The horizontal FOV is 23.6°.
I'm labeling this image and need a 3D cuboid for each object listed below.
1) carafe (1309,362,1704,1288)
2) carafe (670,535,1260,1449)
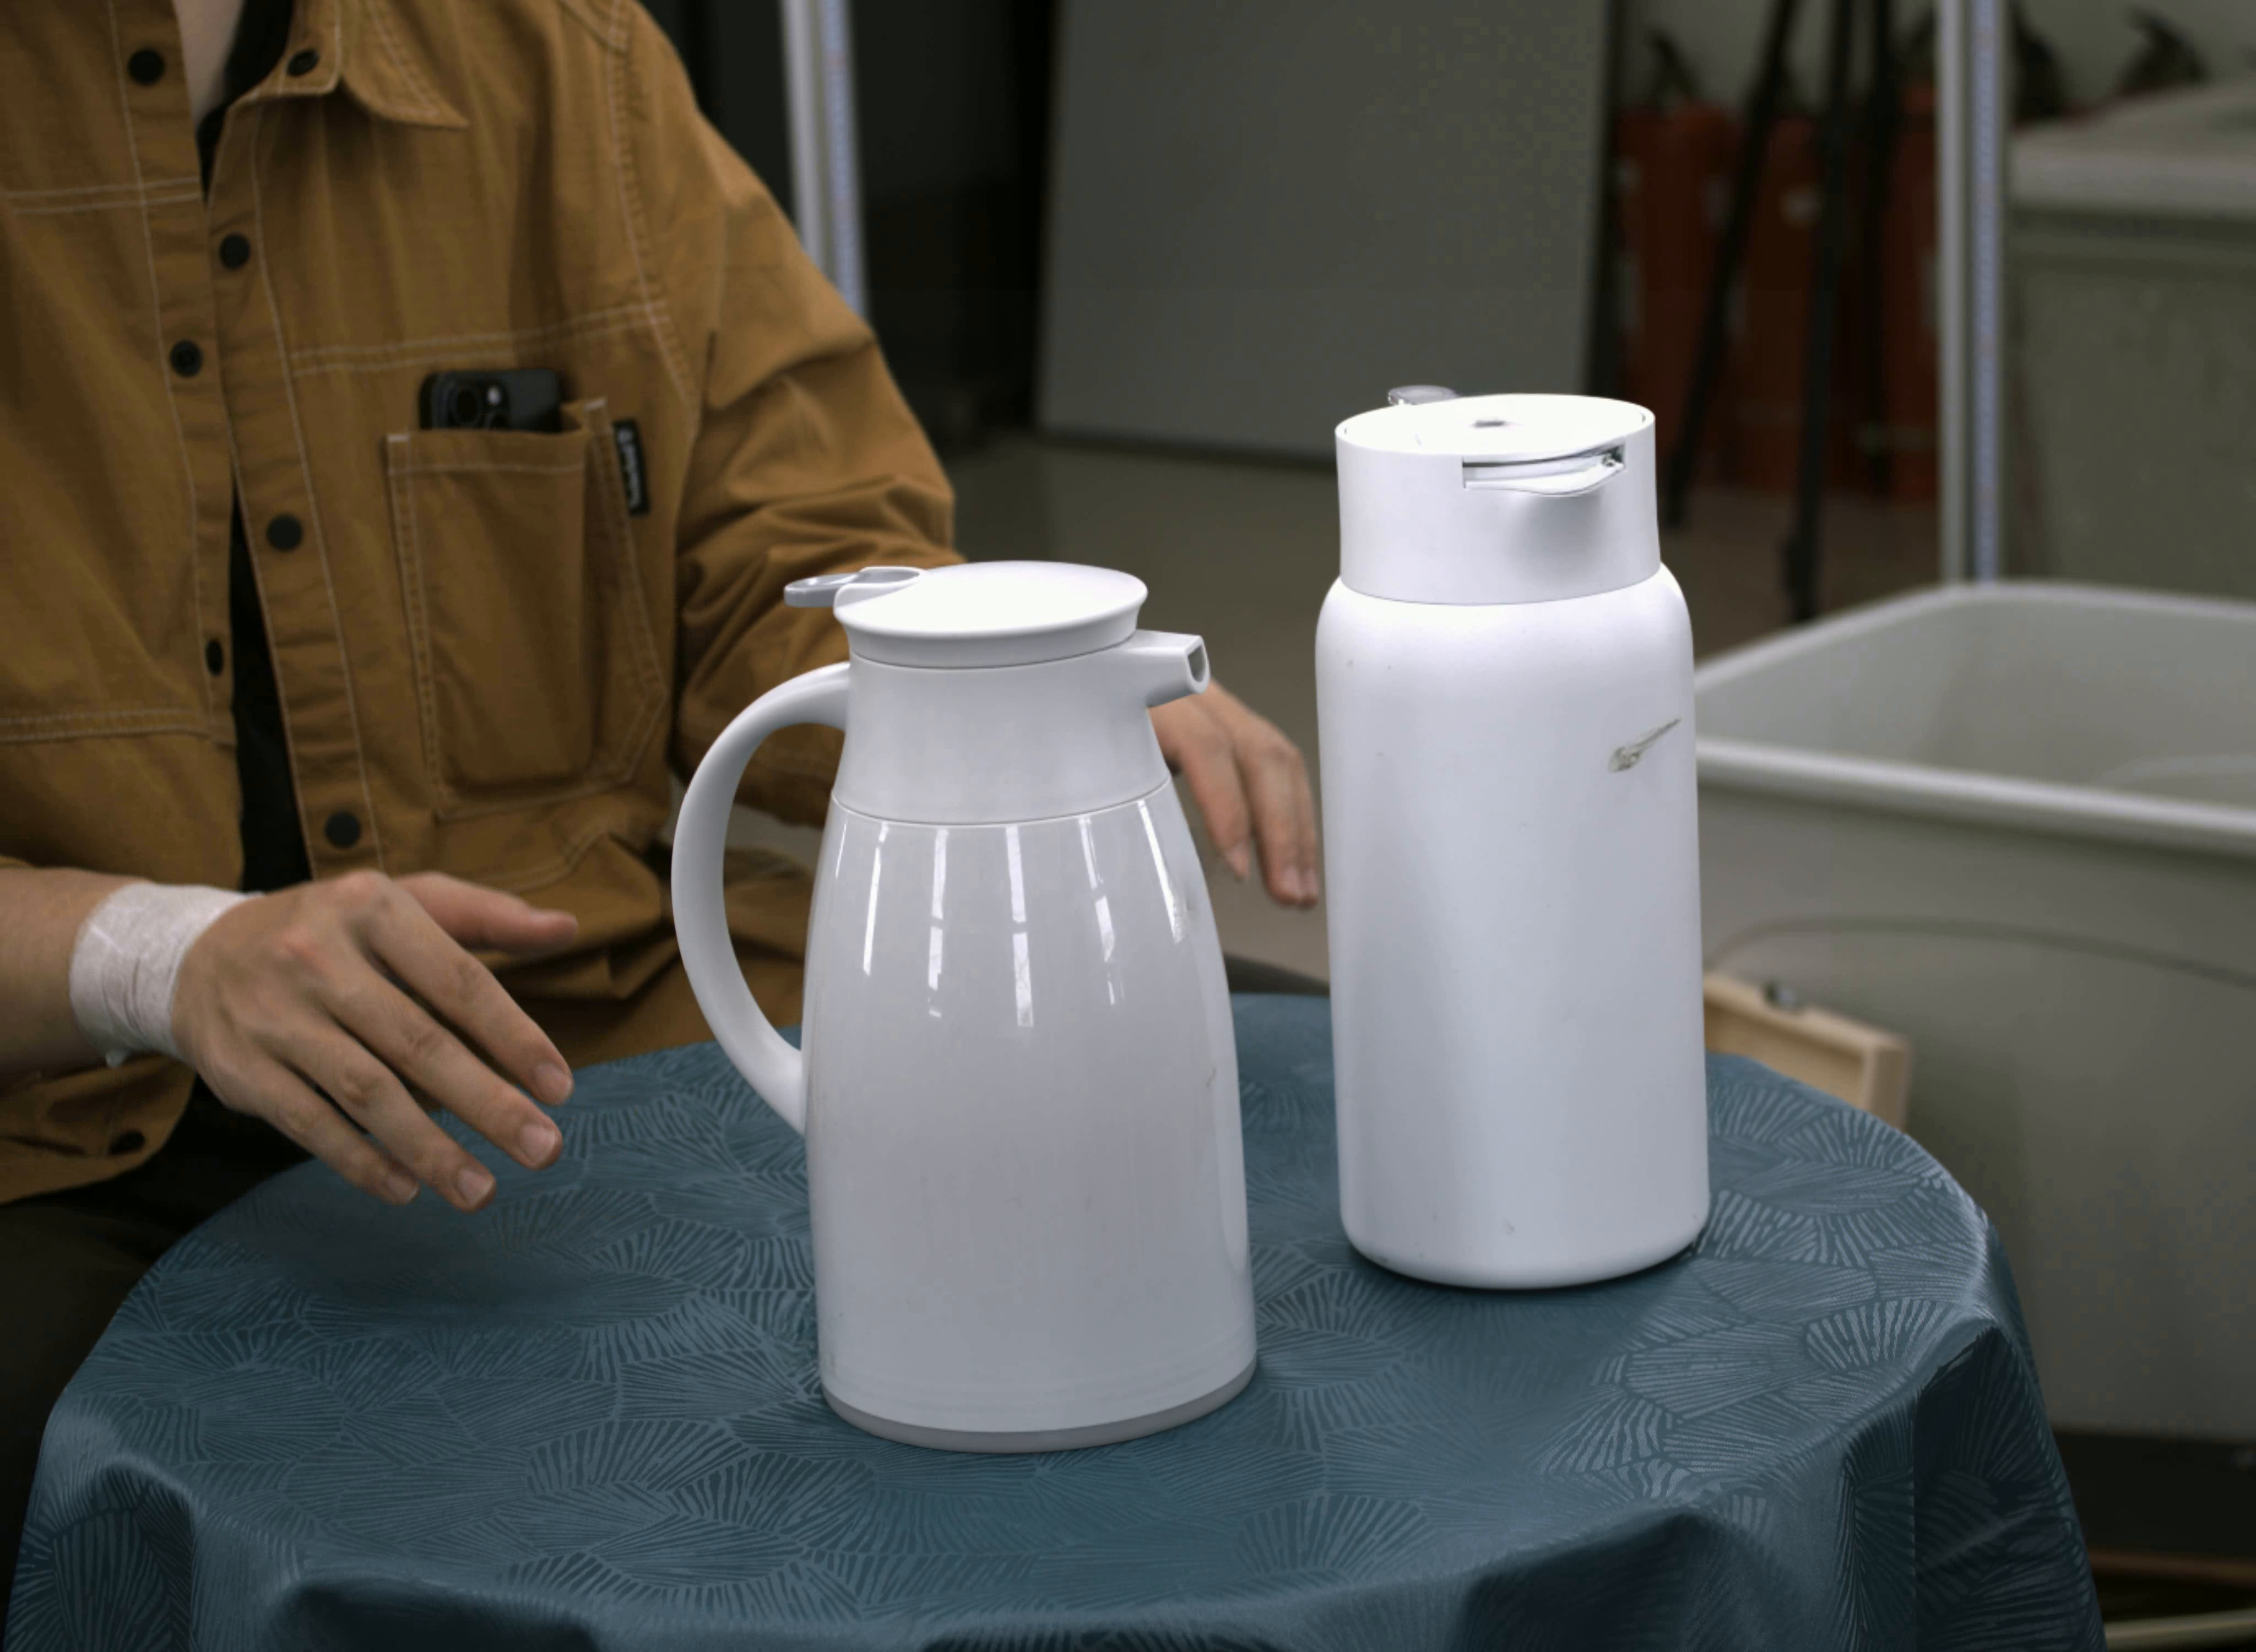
[{"bbox_3d":[0.110,-0.004,1.683,0.121,0.272,0.174,-10,14,-16],"label":"carafe"},{"bbox_3d":[-0.052,0.042,1.584,0.167,0.251,0.131,-1,13,19],"label":"carafe"}]
